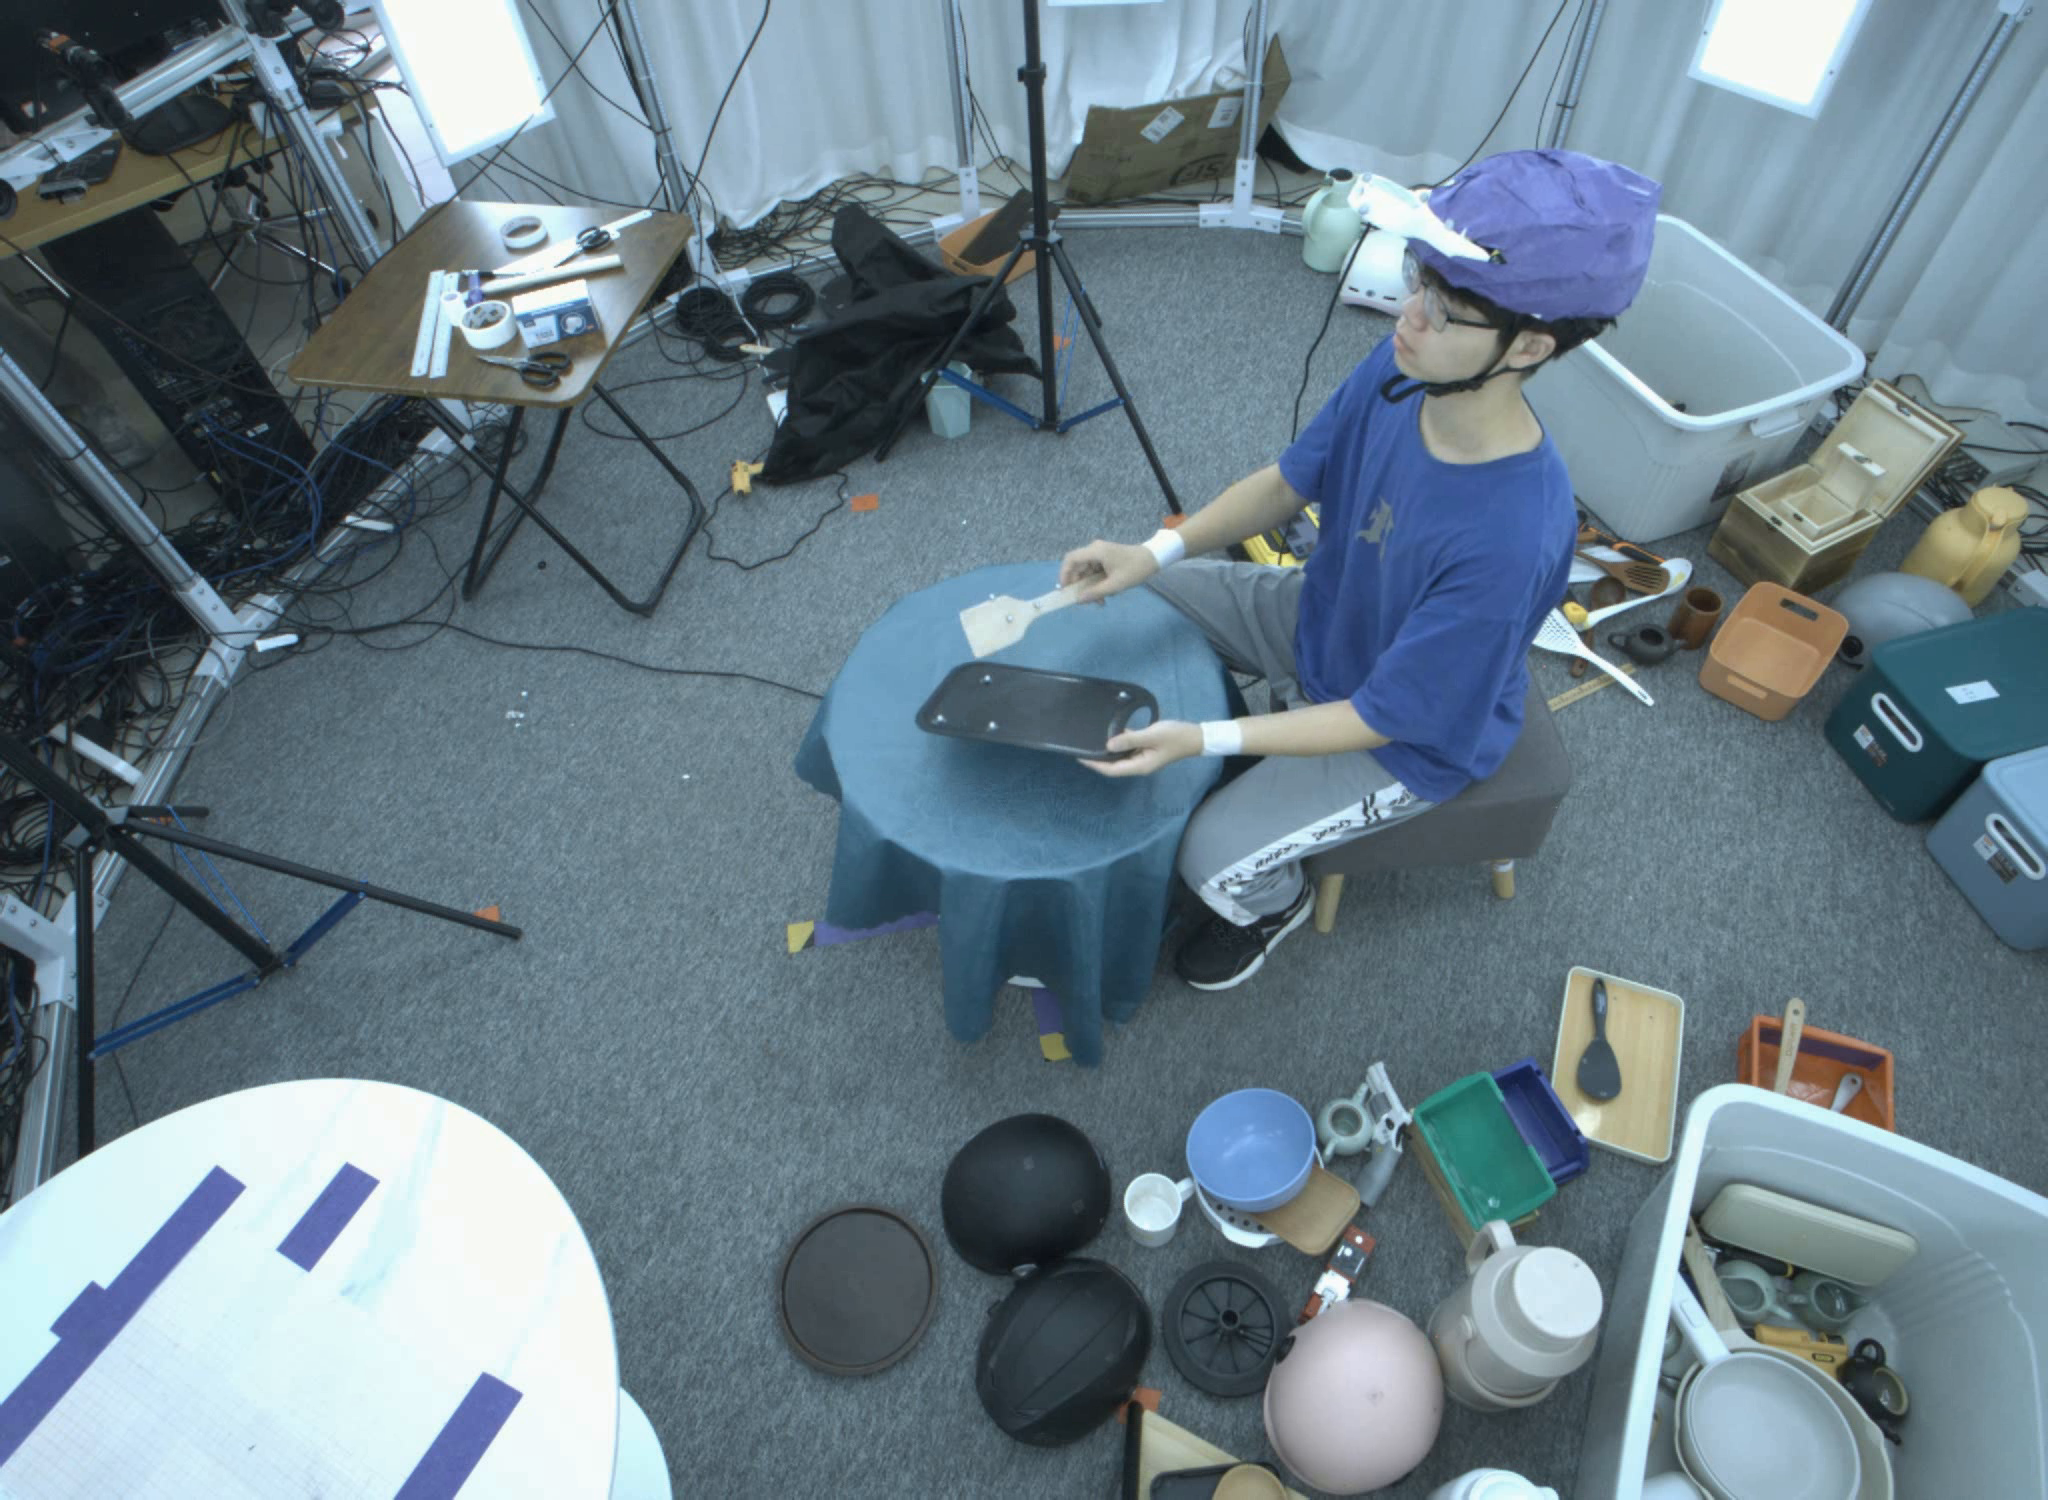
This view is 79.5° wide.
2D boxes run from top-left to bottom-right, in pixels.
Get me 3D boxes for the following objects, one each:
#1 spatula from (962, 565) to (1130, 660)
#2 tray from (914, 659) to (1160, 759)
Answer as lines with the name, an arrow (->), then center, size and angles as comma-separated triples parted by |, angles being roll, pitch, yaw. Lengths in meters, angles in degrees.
spatula -> 0.039, -0.213, 1.784 | 0.296, 0.010, 0.072 | -26, 102, -28
tray -> 0.025, -0.061, 1.700 | 0.322, 0.010, 0.211 | 10, 34, 15
